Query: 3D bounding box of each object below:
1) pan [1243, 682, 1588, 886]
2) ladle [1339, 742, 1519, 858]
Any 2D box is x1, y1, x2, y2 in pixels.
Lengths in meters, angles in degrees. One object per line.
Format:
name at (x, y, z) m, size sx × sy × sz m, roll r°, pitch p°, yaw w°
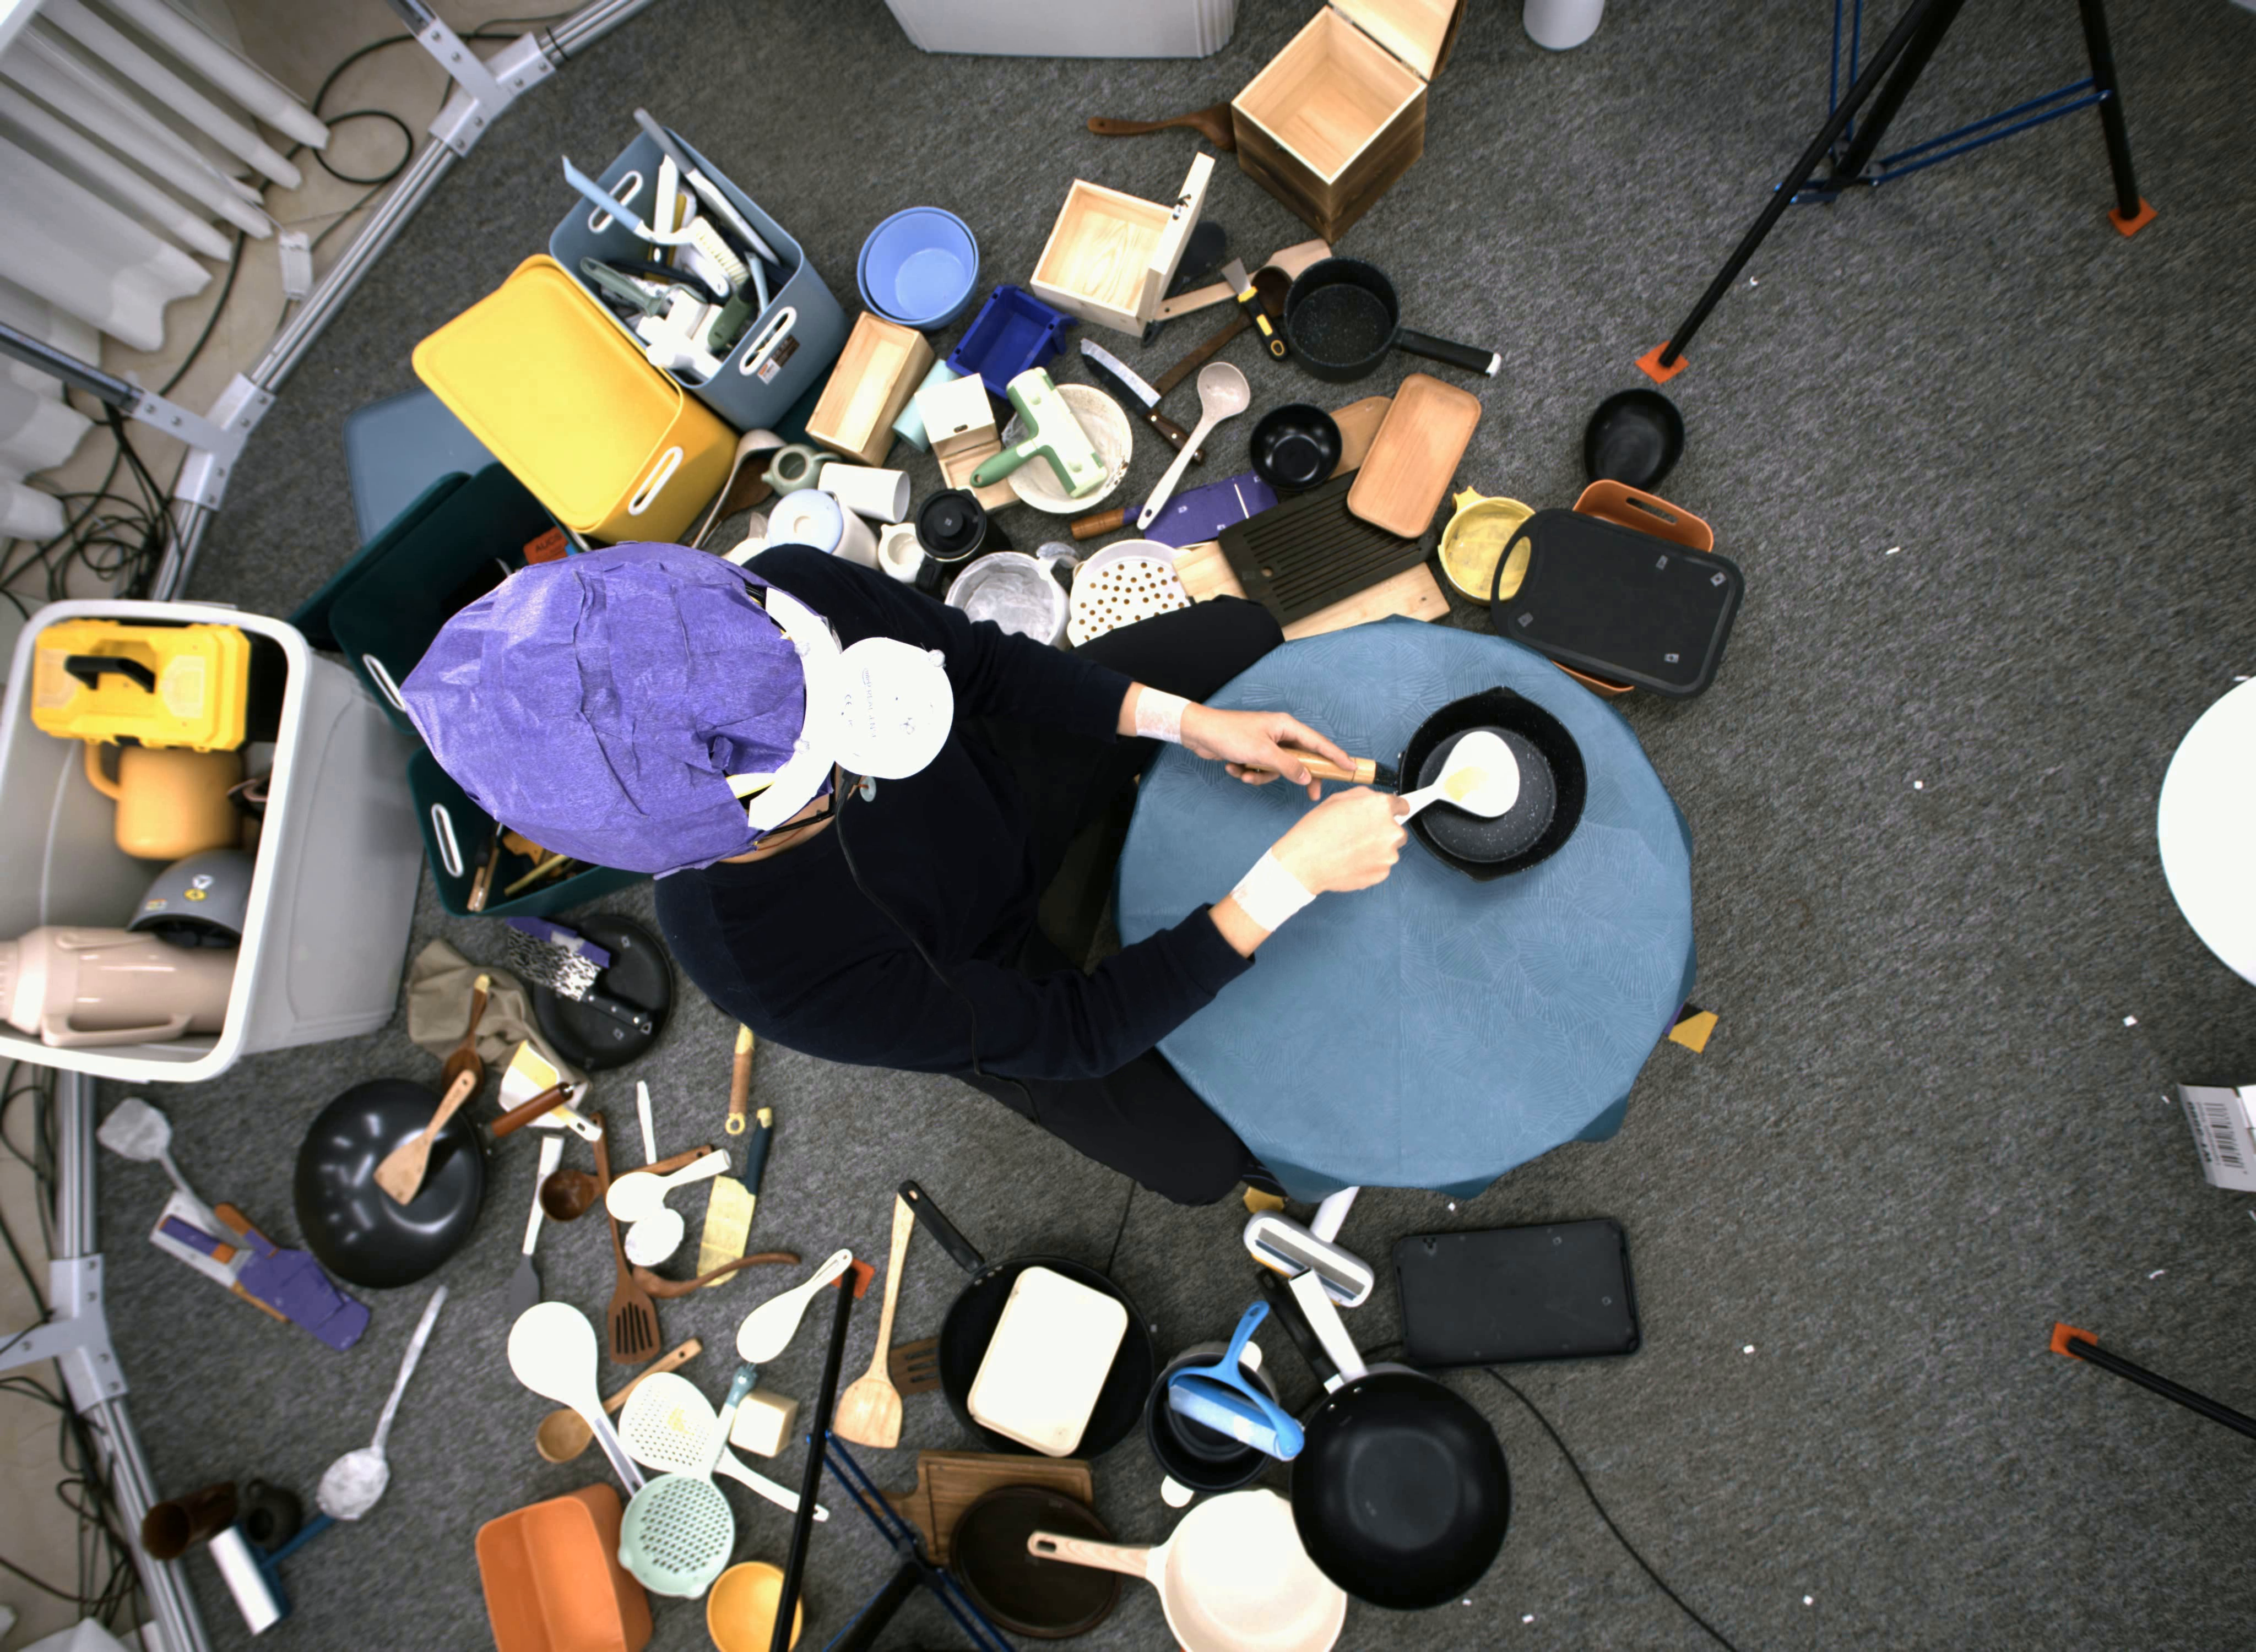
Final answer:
pan at (0.289, -0.048, 1.408) m, size 0.344 × 0.108 × 0.207 m, roll 6°, pitch 88°, yaw 9°
ladle at (0.298, -0.019, 1.333) m, size 0.070 × 0.288 × 0.091 m, roll -4°, pitch 100°, yaw 36°
